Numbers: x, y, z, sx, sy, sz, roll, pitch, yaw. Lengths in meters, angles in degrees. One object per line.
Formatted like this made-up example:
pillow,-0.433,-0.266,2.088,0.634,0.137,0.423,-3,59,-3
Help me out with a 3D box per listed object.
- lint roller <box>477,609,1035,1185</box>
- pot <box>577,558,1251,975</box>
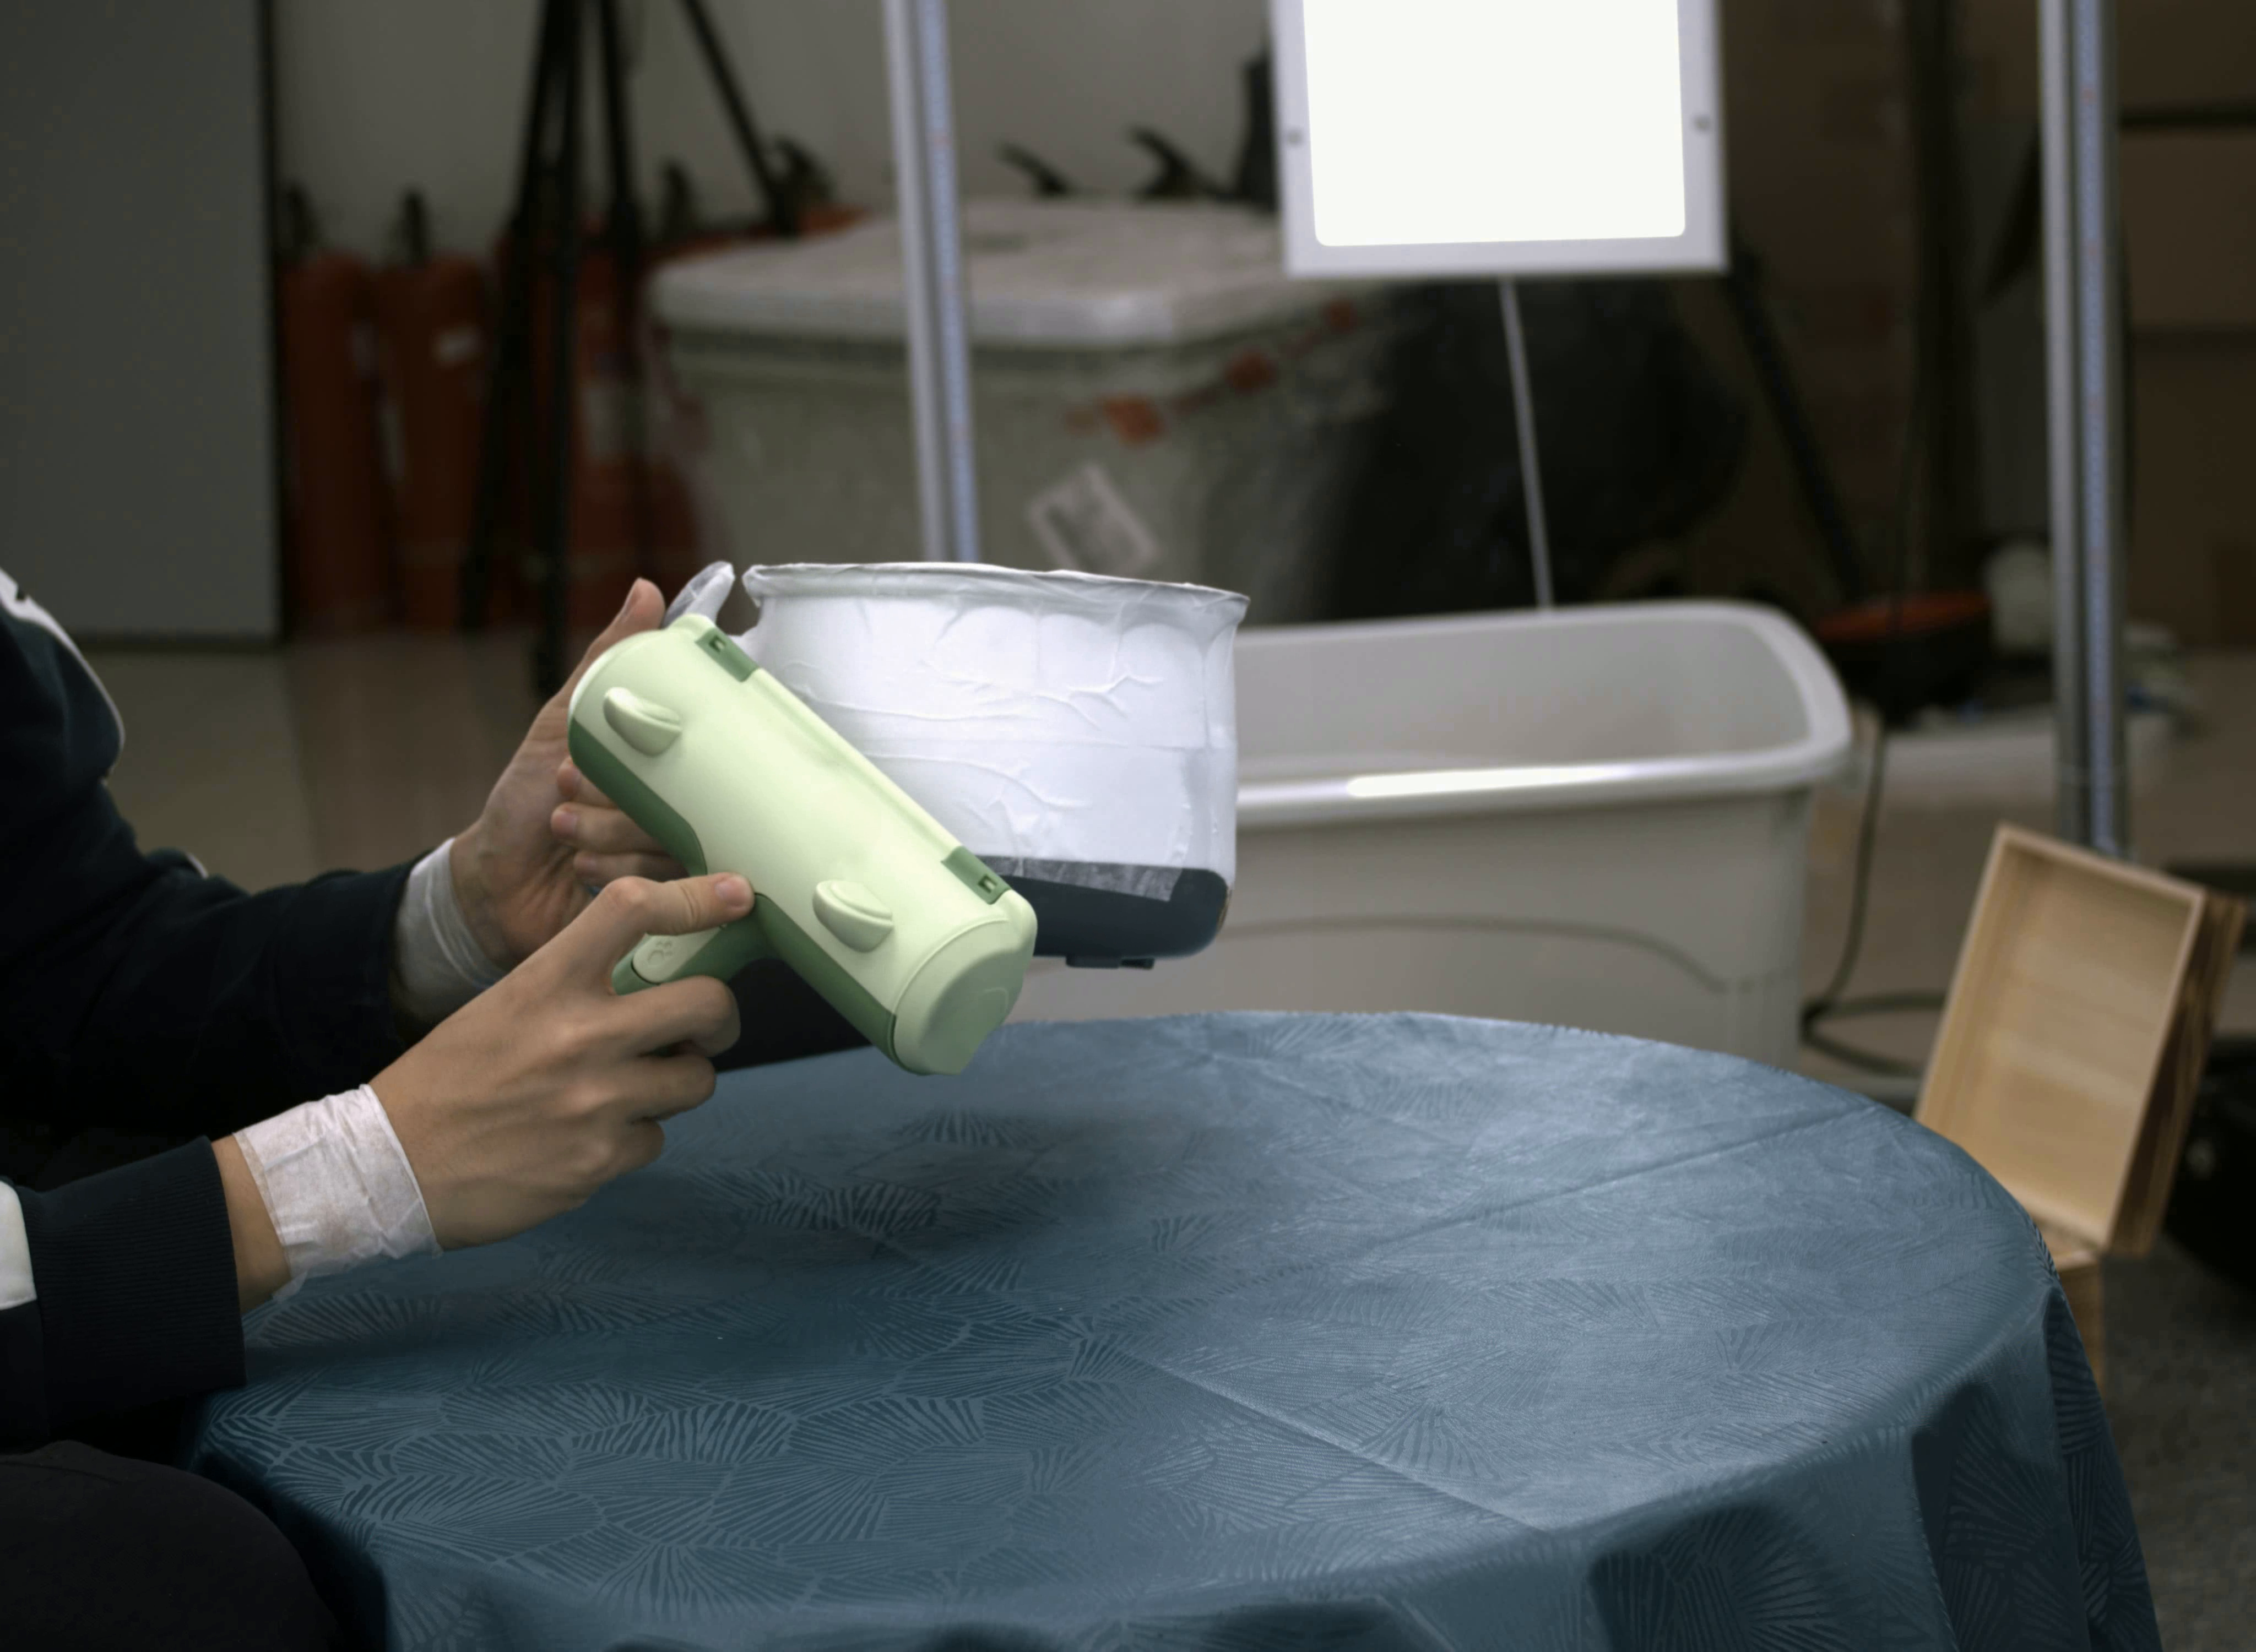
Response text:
lint roller,-0.154,0.039,1.809,0.182,0.081,0.201,-43,57,-8
pot,-0.076,-0.022,1.923,0.235,0.137,0.177,3,-1,9
